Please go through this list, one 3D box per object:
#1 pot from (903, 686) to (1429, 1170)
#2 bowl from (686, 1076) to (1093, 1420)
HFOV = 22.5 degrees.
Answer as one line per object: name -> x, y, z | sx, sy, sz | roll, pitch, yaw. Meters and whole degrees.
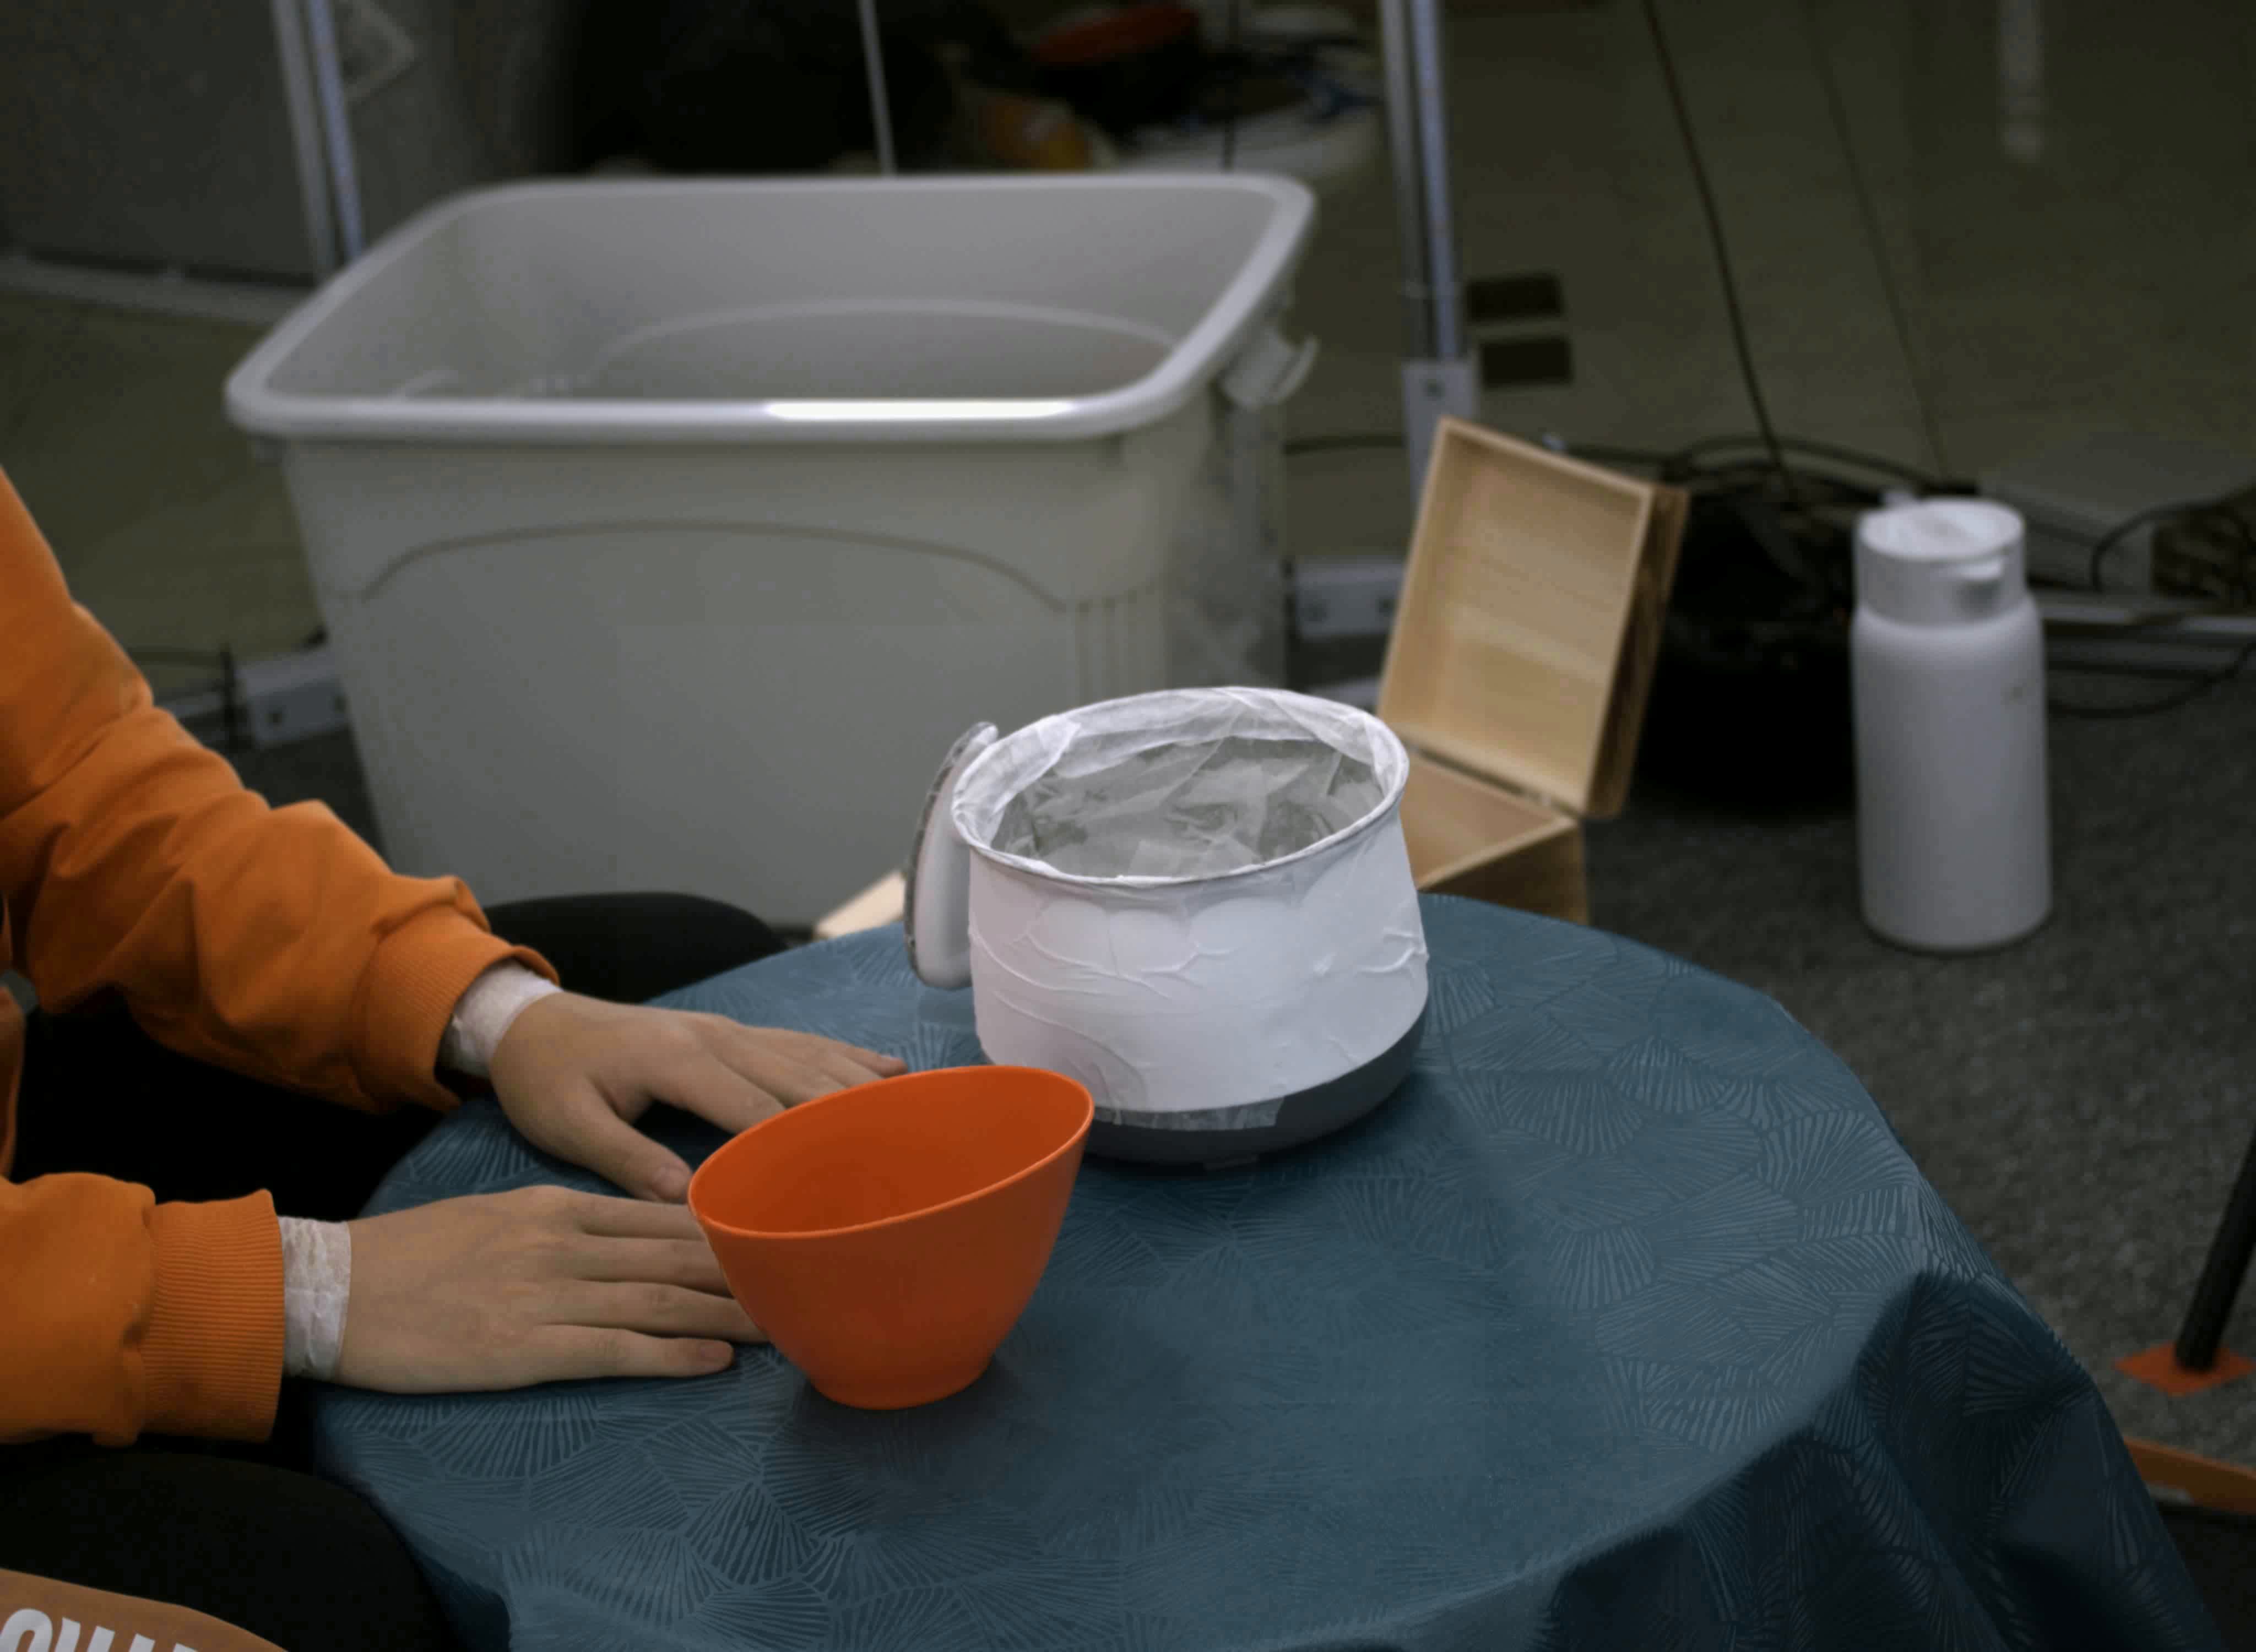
pot -> 0.004, 0.035, 2.204 | 0.232, 0.139, 0.177 | 14, 32, 36
bowl -> -0.080, 0.154, 2.020 | 0.148, 0.106, 0.146 | -6, 24, 3
